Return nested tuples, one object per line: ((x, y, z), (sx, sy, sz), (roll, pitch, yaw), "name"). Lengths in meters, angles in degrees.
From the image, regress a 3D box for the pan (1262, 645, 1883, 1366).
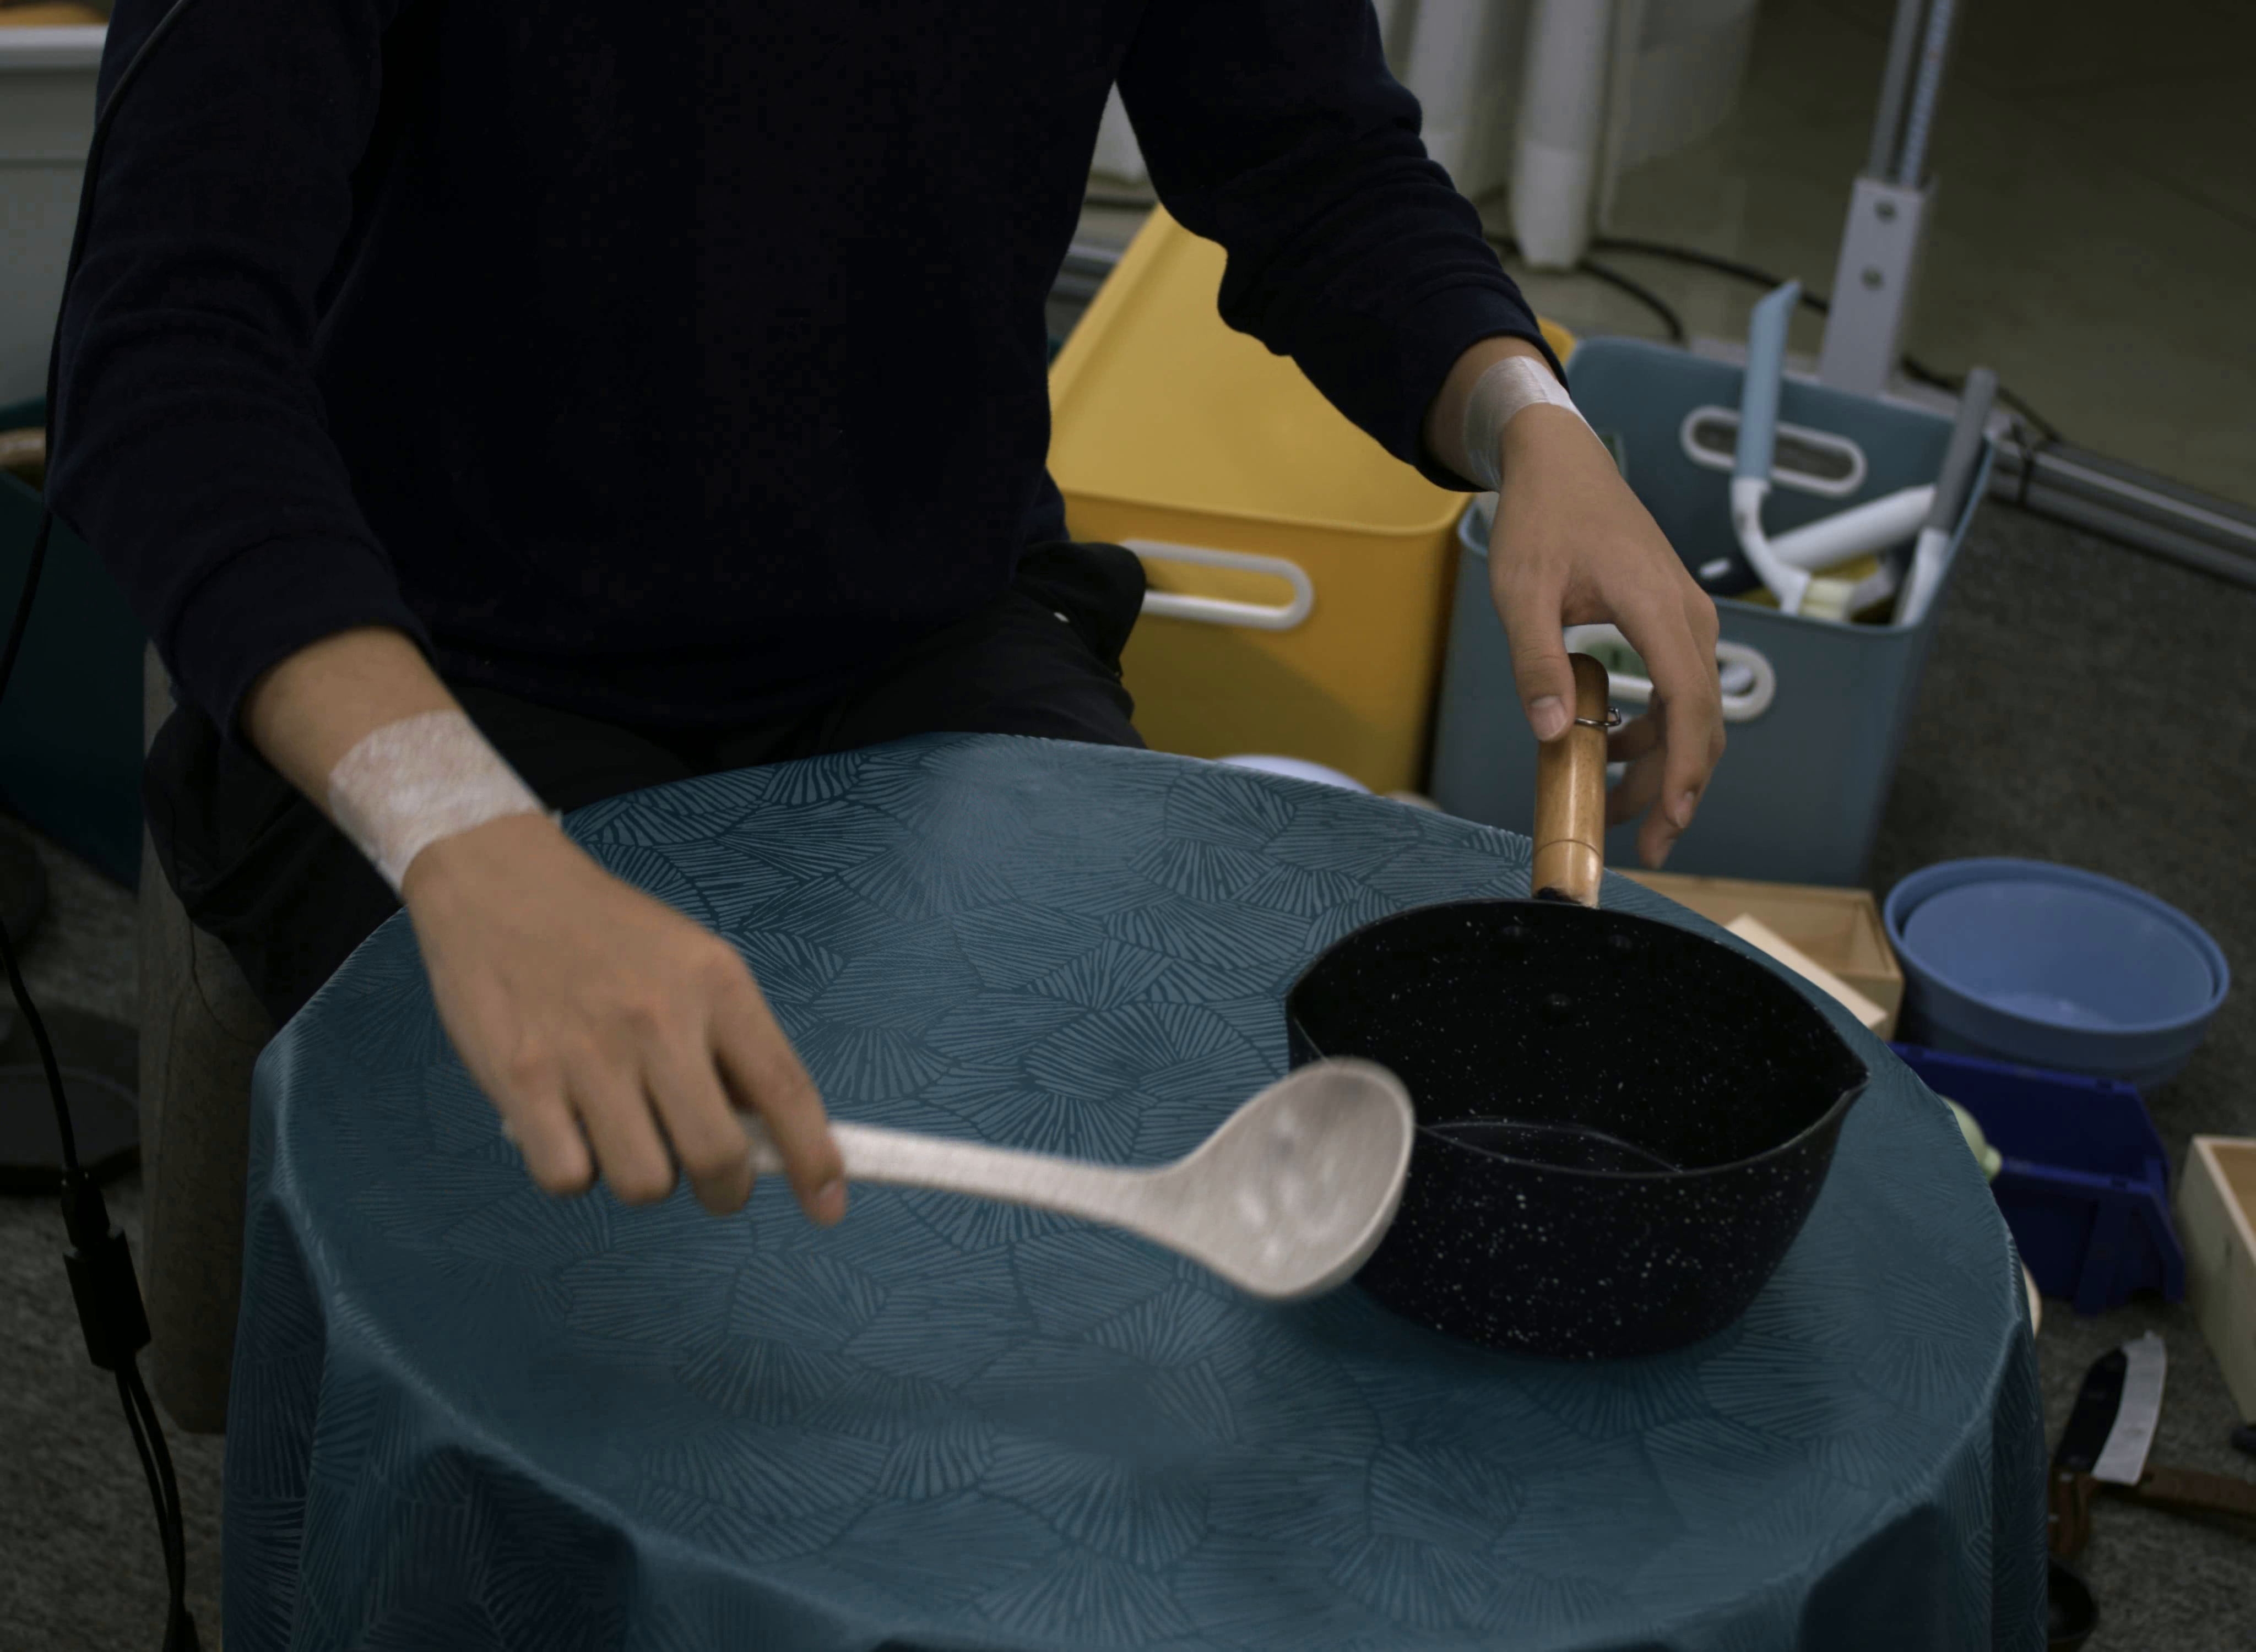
((0.148, 0.058, 1.845), (0.207, 0.108, 0.345), (6, 28, 1), "pan")

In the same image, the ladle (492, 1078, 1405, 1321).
((-0.052, 0.096, 1.619), (0.273, 0.069, 0.090), (11, 44, -13), "ladle")
